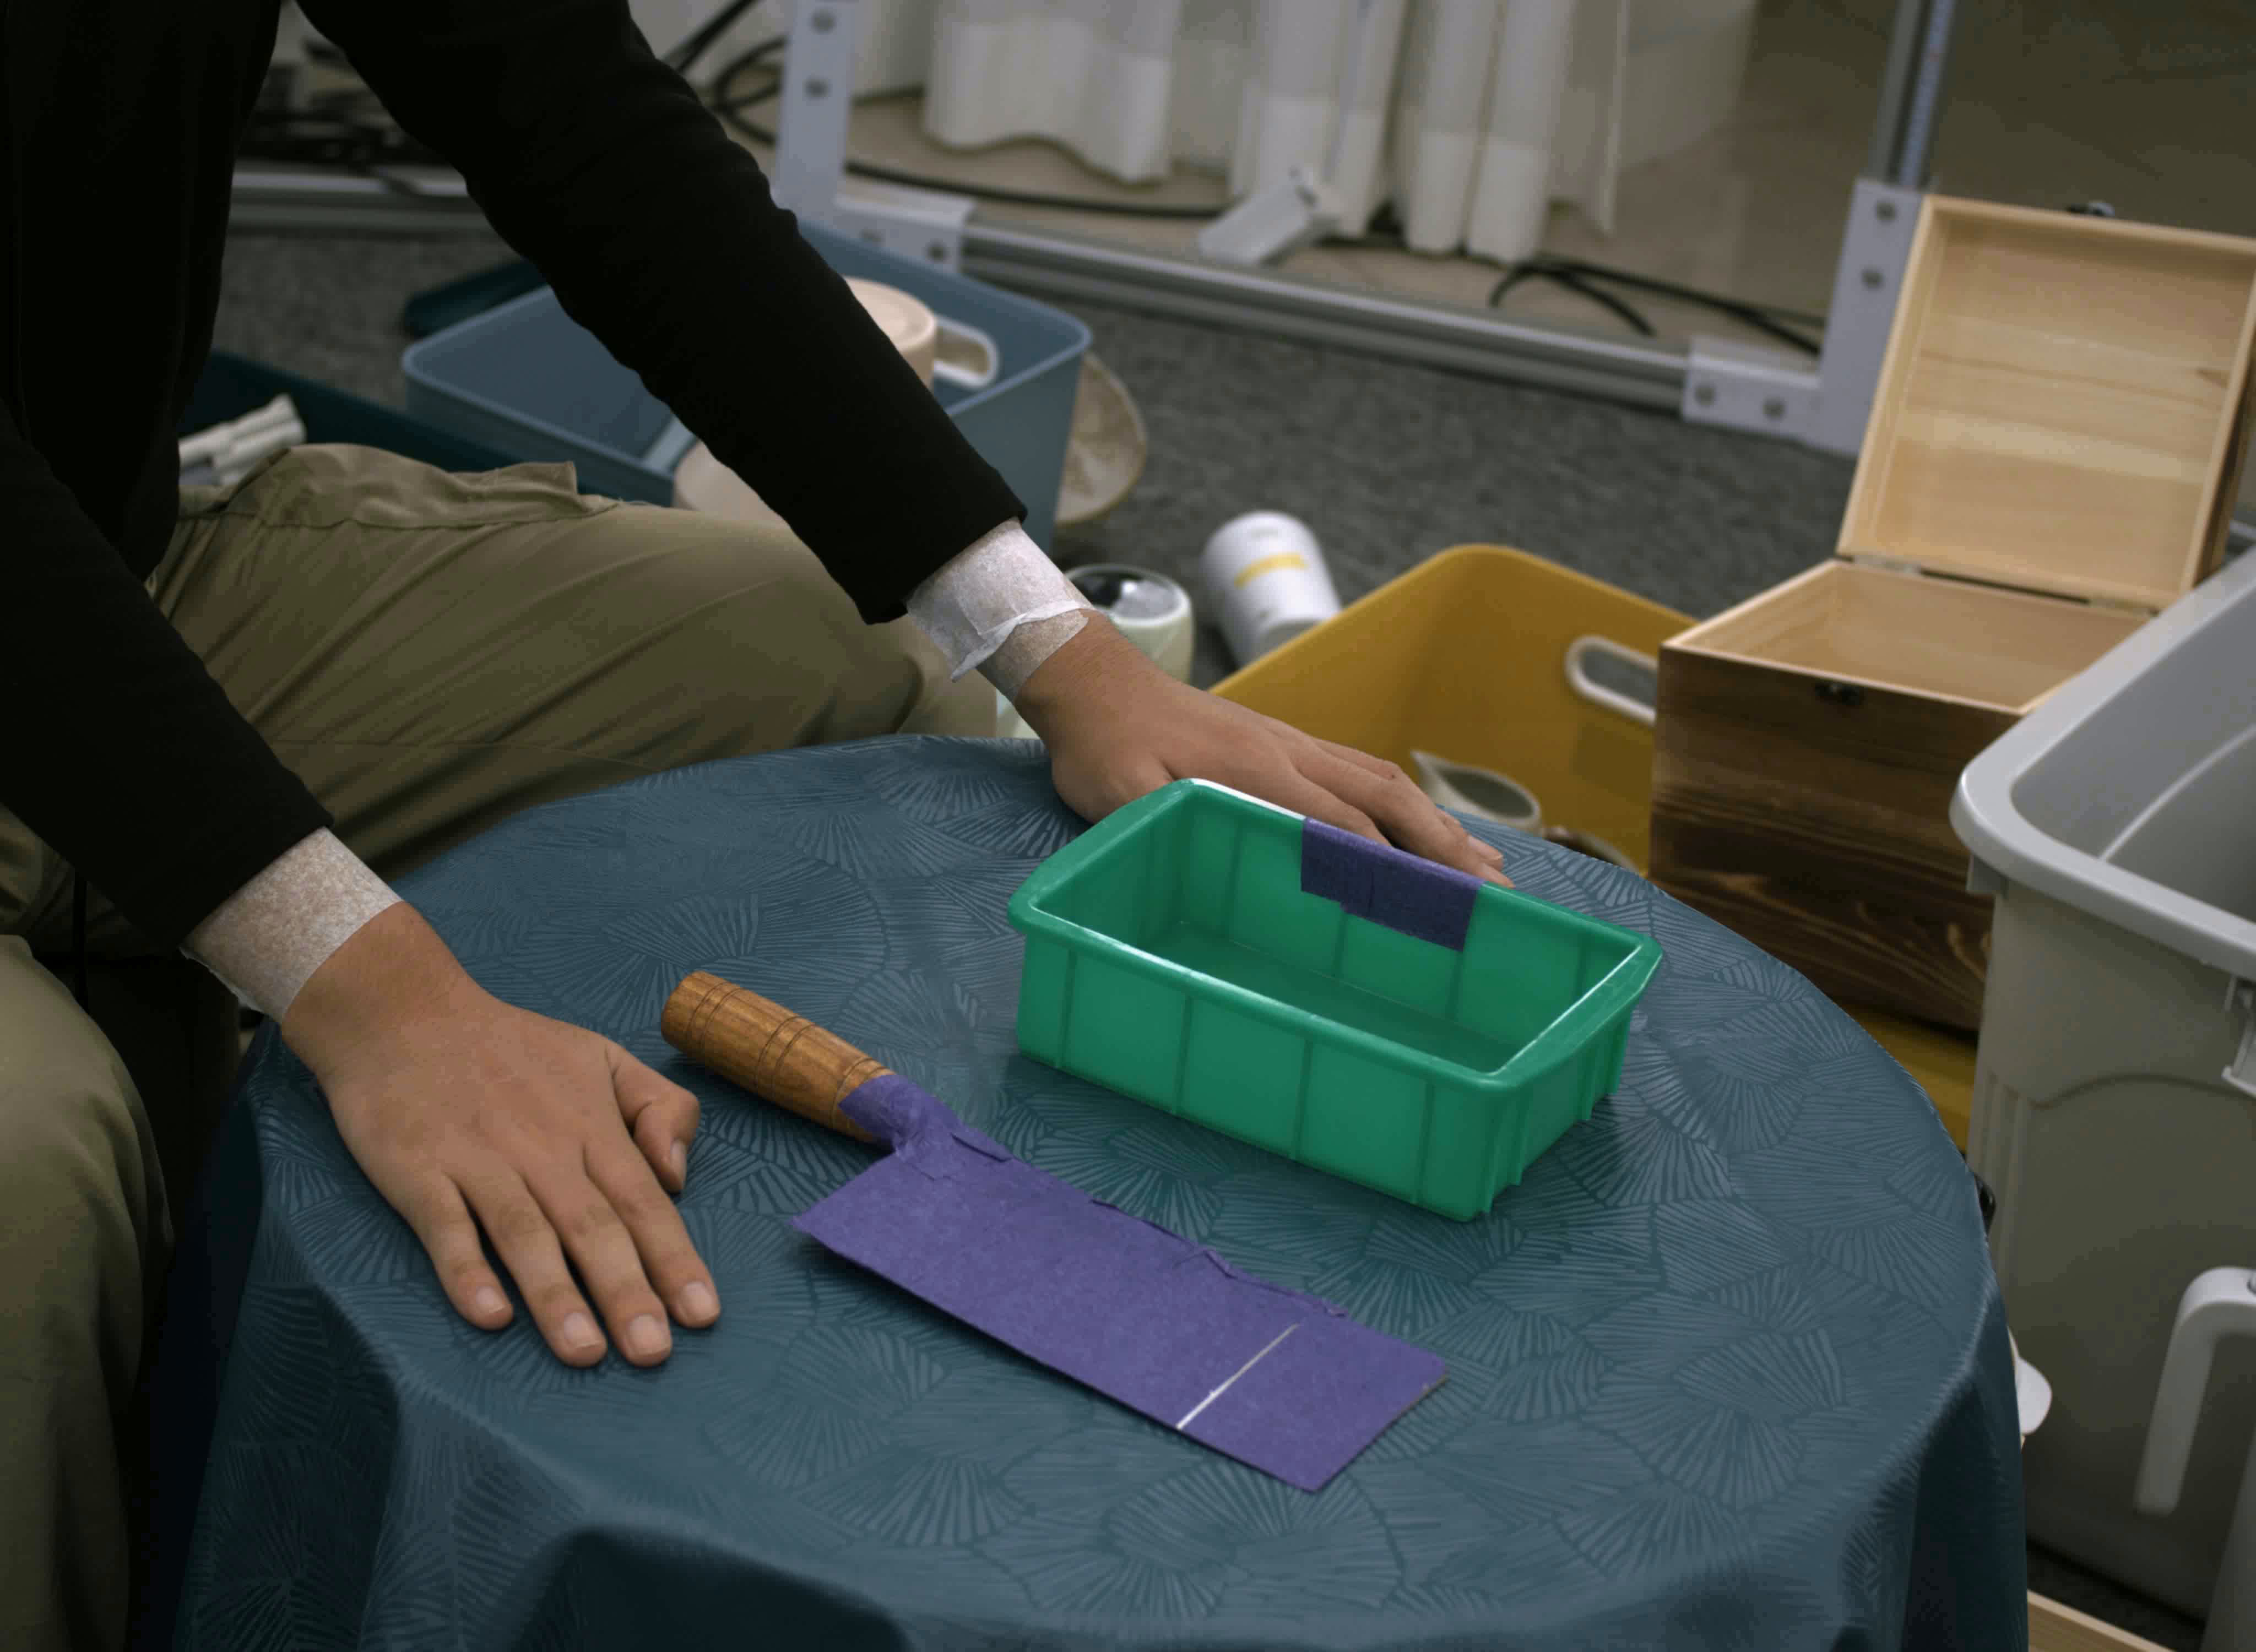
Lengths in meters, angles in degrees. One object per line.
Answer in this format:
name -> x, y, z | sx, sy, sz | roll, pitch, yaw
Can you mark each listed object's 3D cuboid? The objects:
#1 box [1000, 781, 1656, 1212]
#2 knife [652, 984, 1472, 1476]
box -> 0.068, 0.060, 1.873 | 0.211, 0.065, 0.138 | 17, 27, 24
knife -> -0.043, 0.130, 1.750 | 0.317, 0.032, 0.103 | 22, 31, 27
